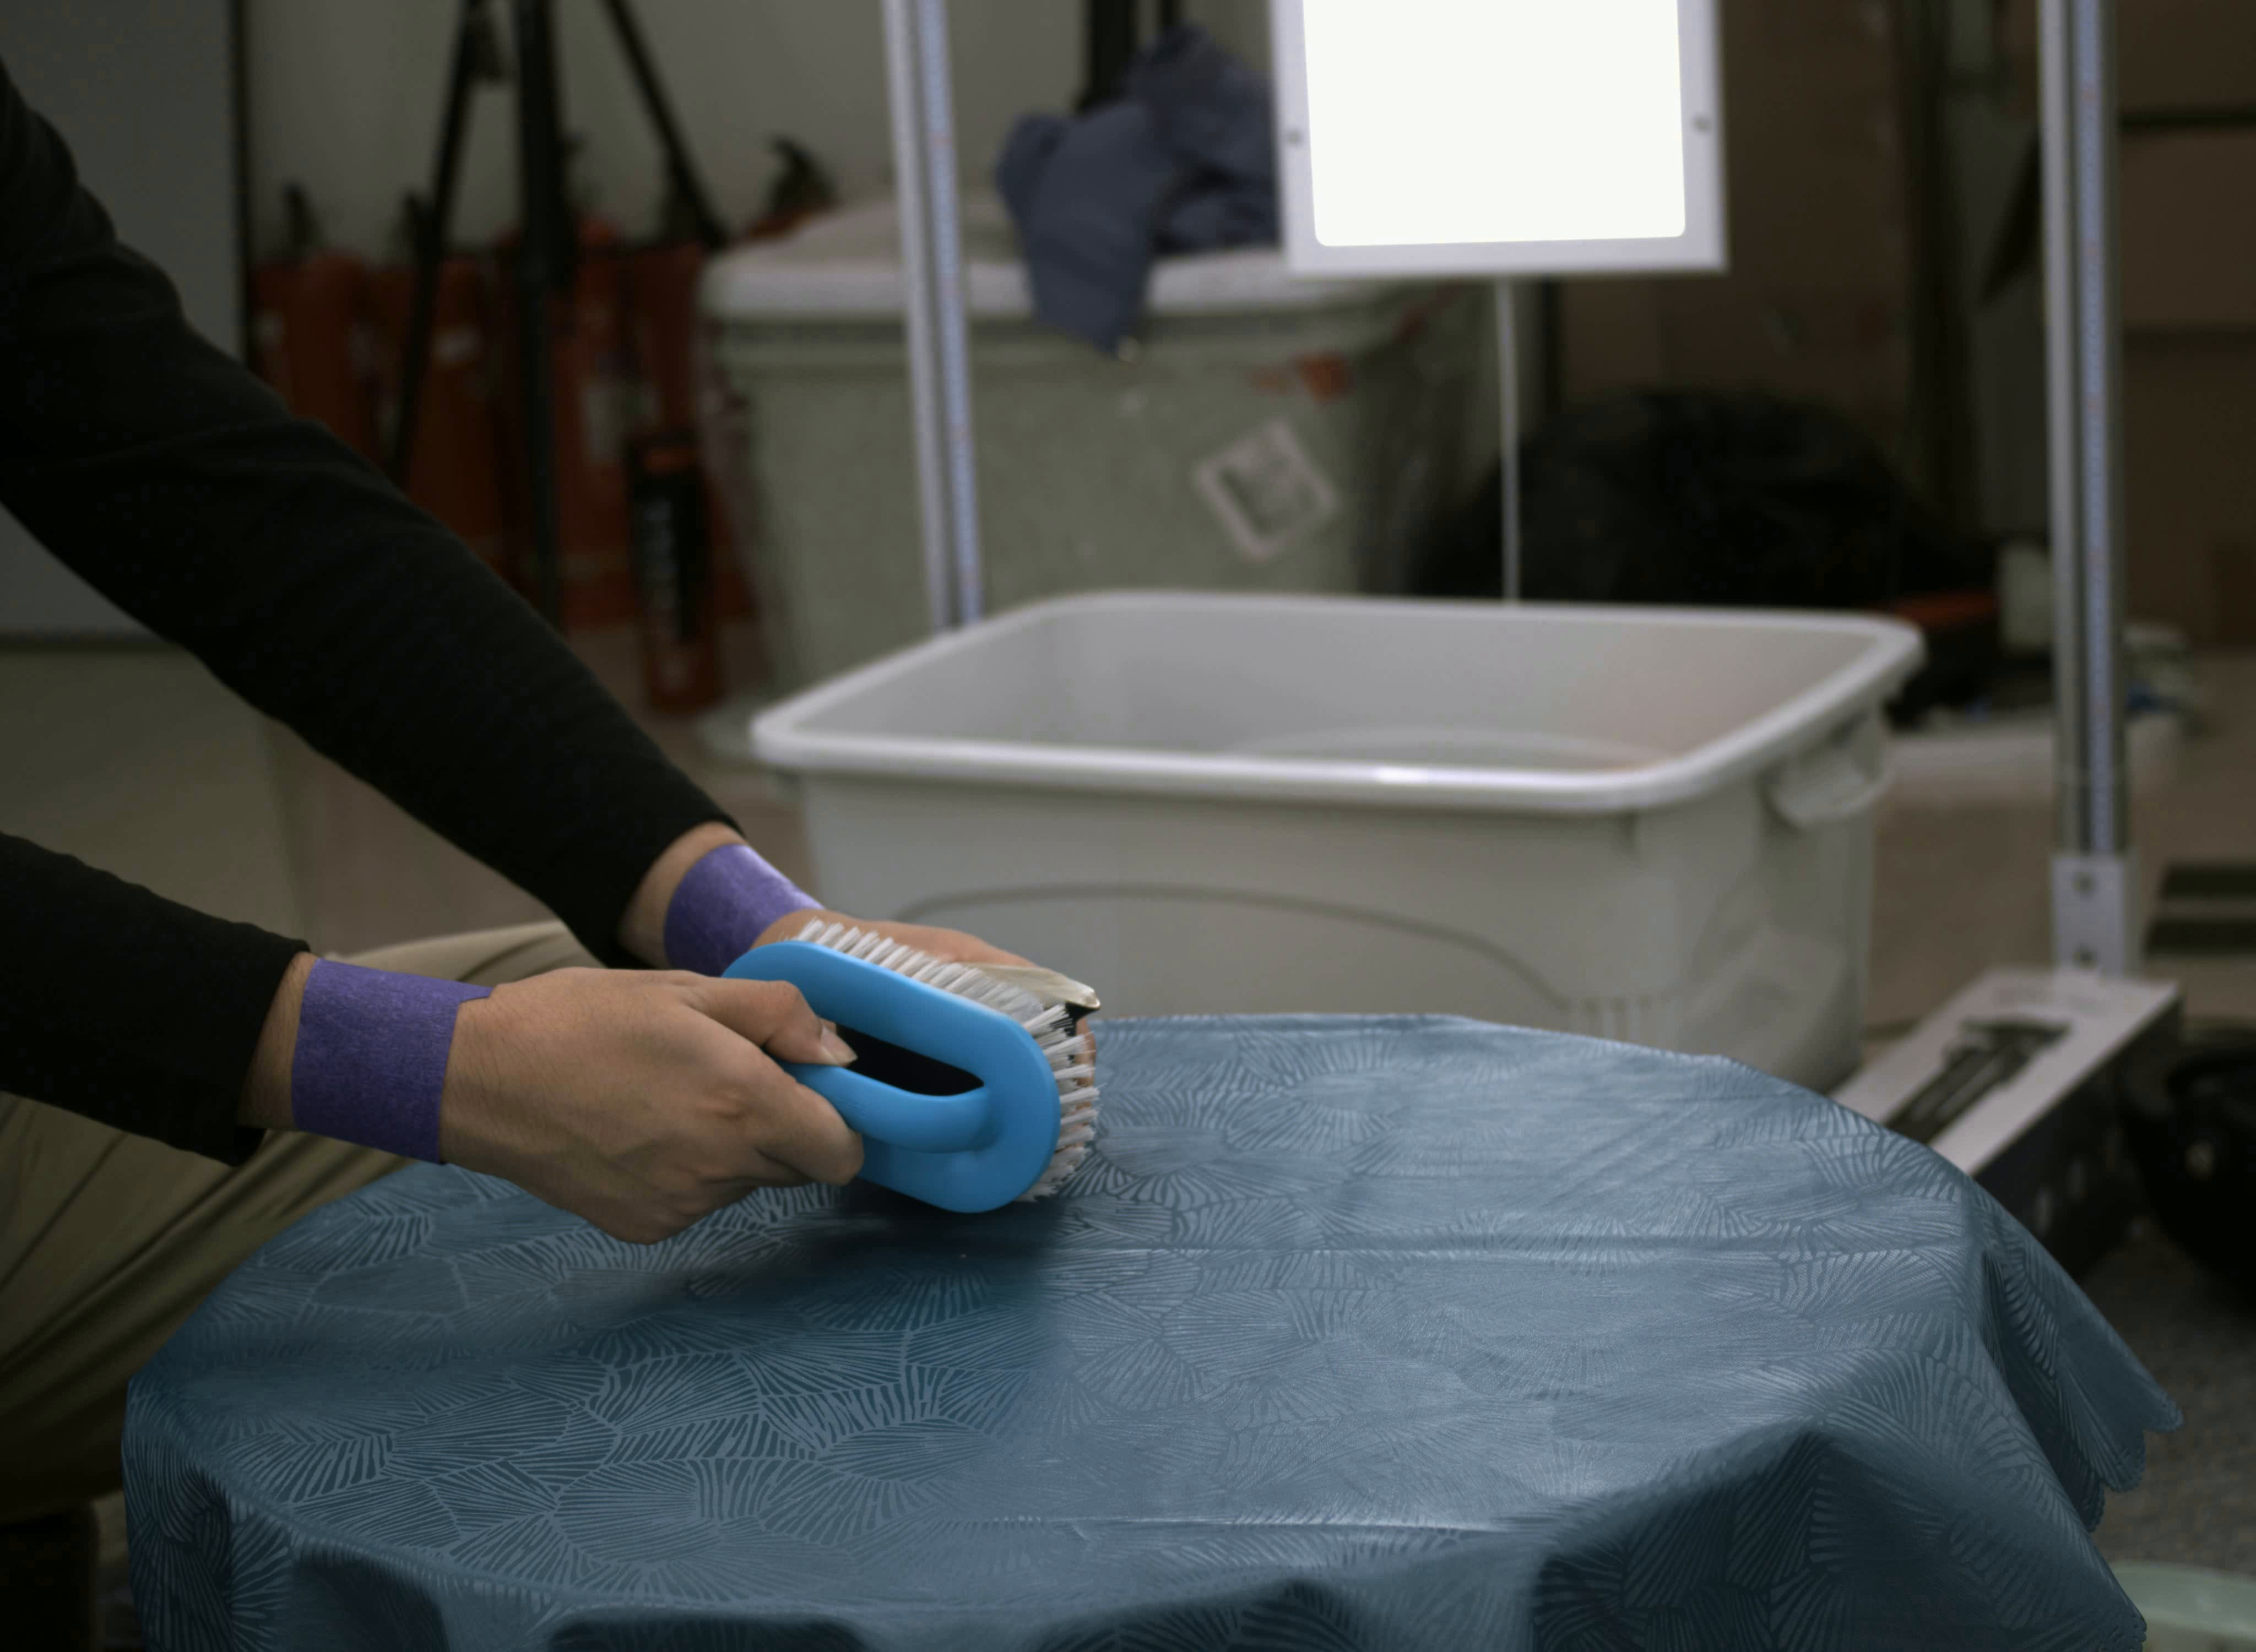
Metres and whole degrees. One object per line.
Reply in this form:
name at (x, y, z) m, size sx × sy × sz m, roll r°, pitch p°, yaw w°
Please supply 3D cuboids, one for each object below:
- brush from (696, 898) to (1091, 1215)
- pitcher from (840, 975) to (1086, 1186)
brush at (-0.086, 0.081, 1.839) m, size 0.144 × 0.085 × 0.062 m, roll 21°, pitch 22°, yaw 26°
pitcher at (-0.058, 0.087, 1.909) m, size 0.098 × 0.071 × 0.081 m, roll 7°, pitch 10°, yaw 33°
